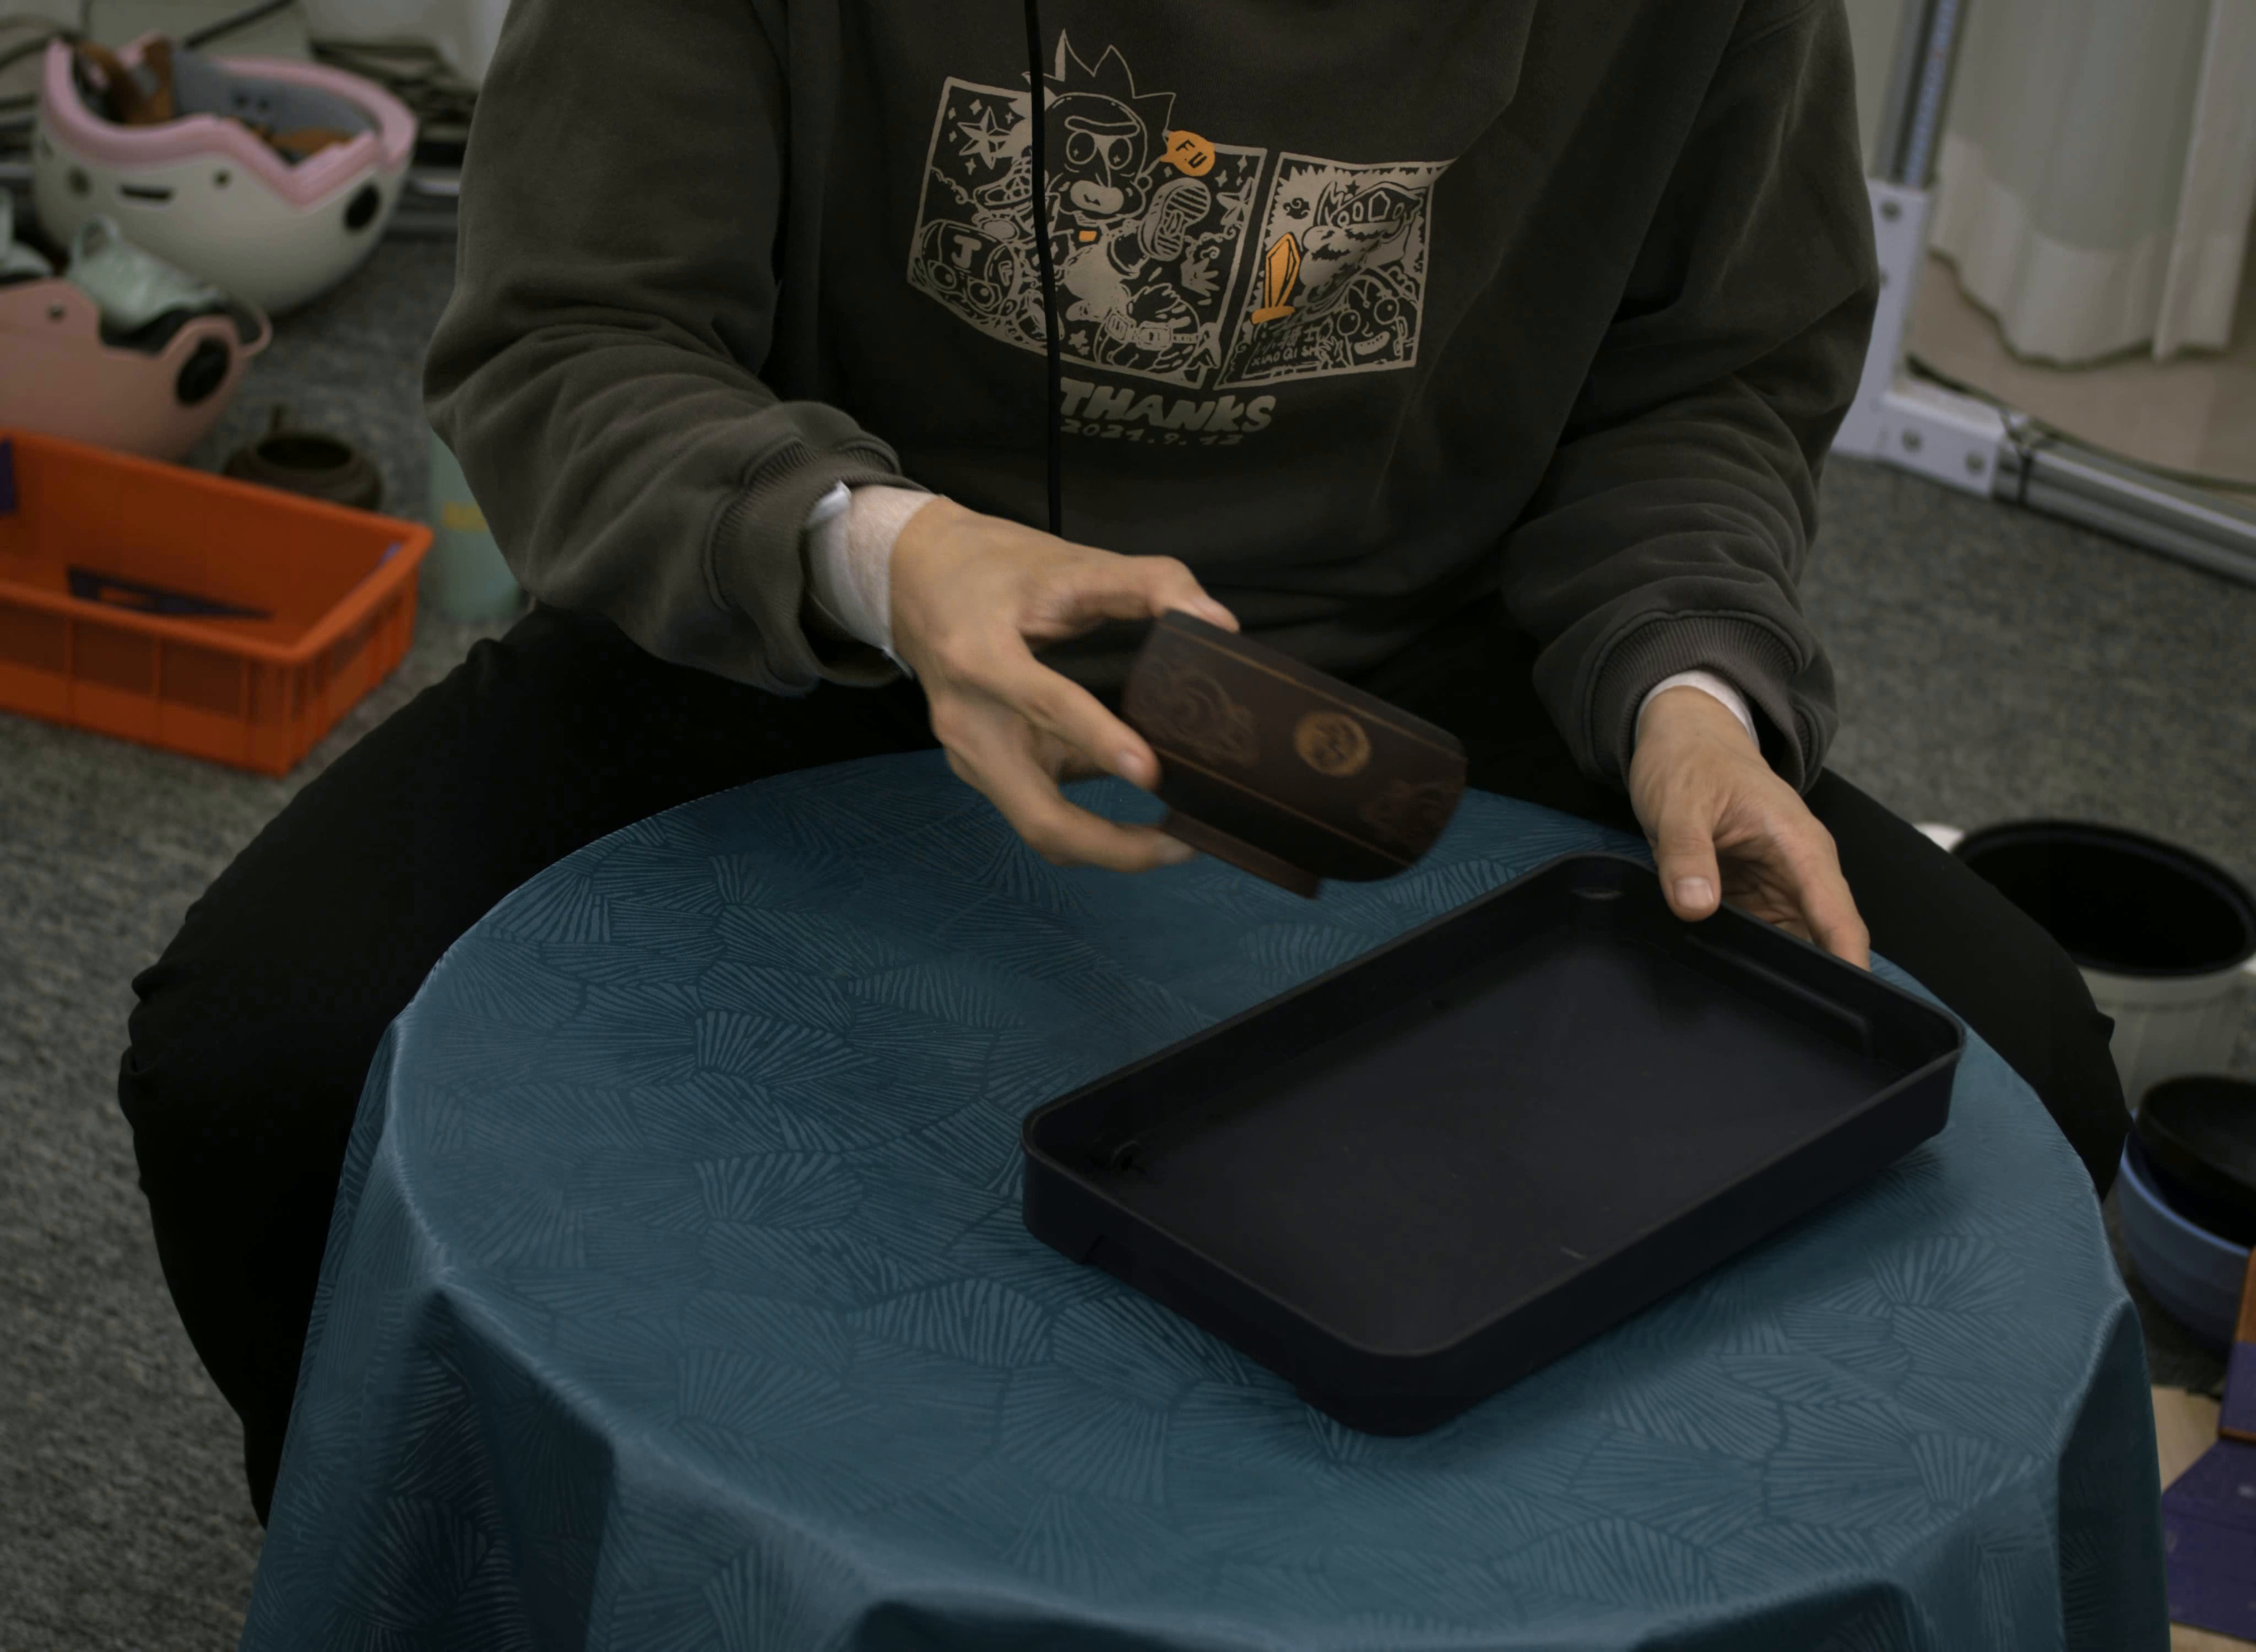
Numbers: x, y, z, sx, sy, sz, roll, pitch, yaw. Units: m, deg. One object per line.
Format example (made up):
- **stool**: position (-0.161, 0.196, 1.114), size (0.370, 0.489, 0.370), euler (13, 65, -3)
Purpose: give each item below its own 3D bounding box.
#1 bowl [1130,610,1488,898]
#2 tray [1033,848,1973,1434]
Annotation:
- **bowl**: position (0.054, -0.018, 1.765), size (0.118, 0.070, 0.118), euler (23, -1, 0)
- **tray**: position (0.132, 0.101, 1.825), size (0.185, 0.037, 0.317), euler (26, 35, 35)
